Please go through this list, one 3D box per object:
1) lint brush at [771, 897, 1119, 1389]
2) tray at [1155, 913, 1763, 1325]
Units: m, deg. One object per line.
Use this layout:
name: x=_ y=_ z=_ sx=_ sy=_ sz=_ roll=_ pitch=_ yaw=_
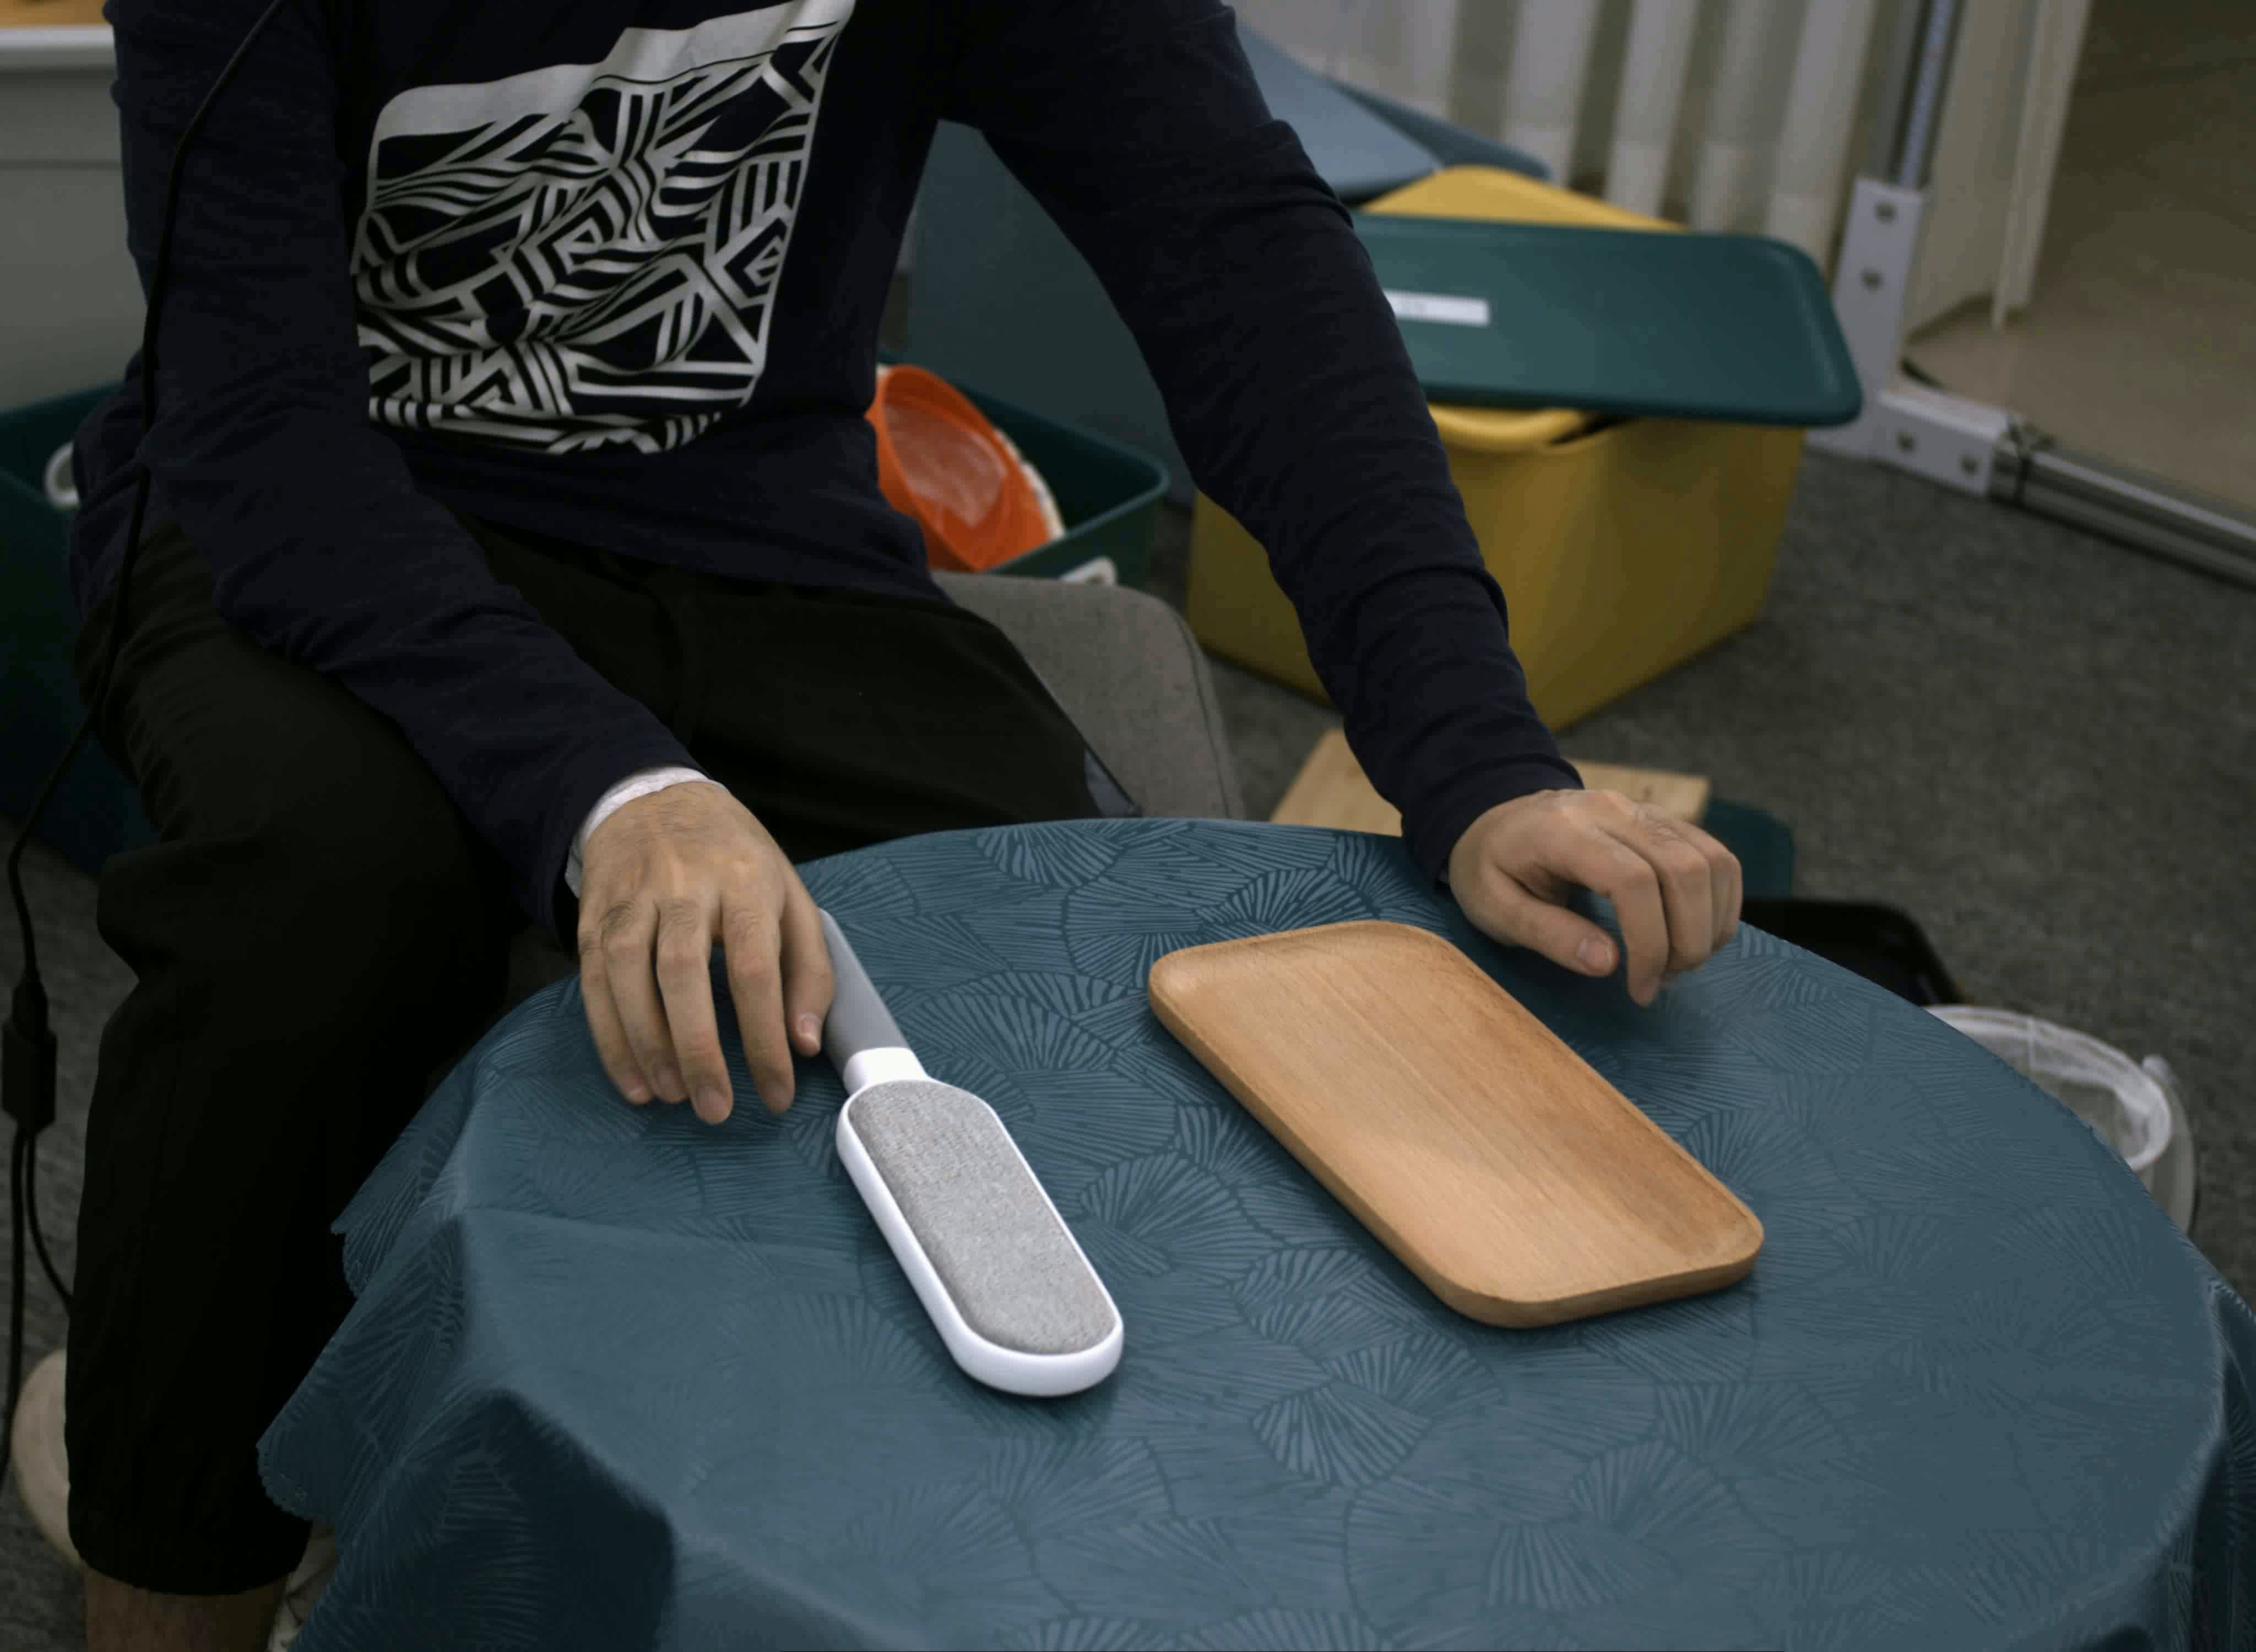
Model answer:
lint brush: x=-0.070 y=0.102 z=1.803 sx=0.060 sy=0.021 sz=0.311 roll=-8 pitch=30 yaw=-17
tray: x=0.111 y=0.099 z=1.860 sx=0.129 sy=0.023 sz=0.253 roll=-5 pitch=28 yaw=-26
